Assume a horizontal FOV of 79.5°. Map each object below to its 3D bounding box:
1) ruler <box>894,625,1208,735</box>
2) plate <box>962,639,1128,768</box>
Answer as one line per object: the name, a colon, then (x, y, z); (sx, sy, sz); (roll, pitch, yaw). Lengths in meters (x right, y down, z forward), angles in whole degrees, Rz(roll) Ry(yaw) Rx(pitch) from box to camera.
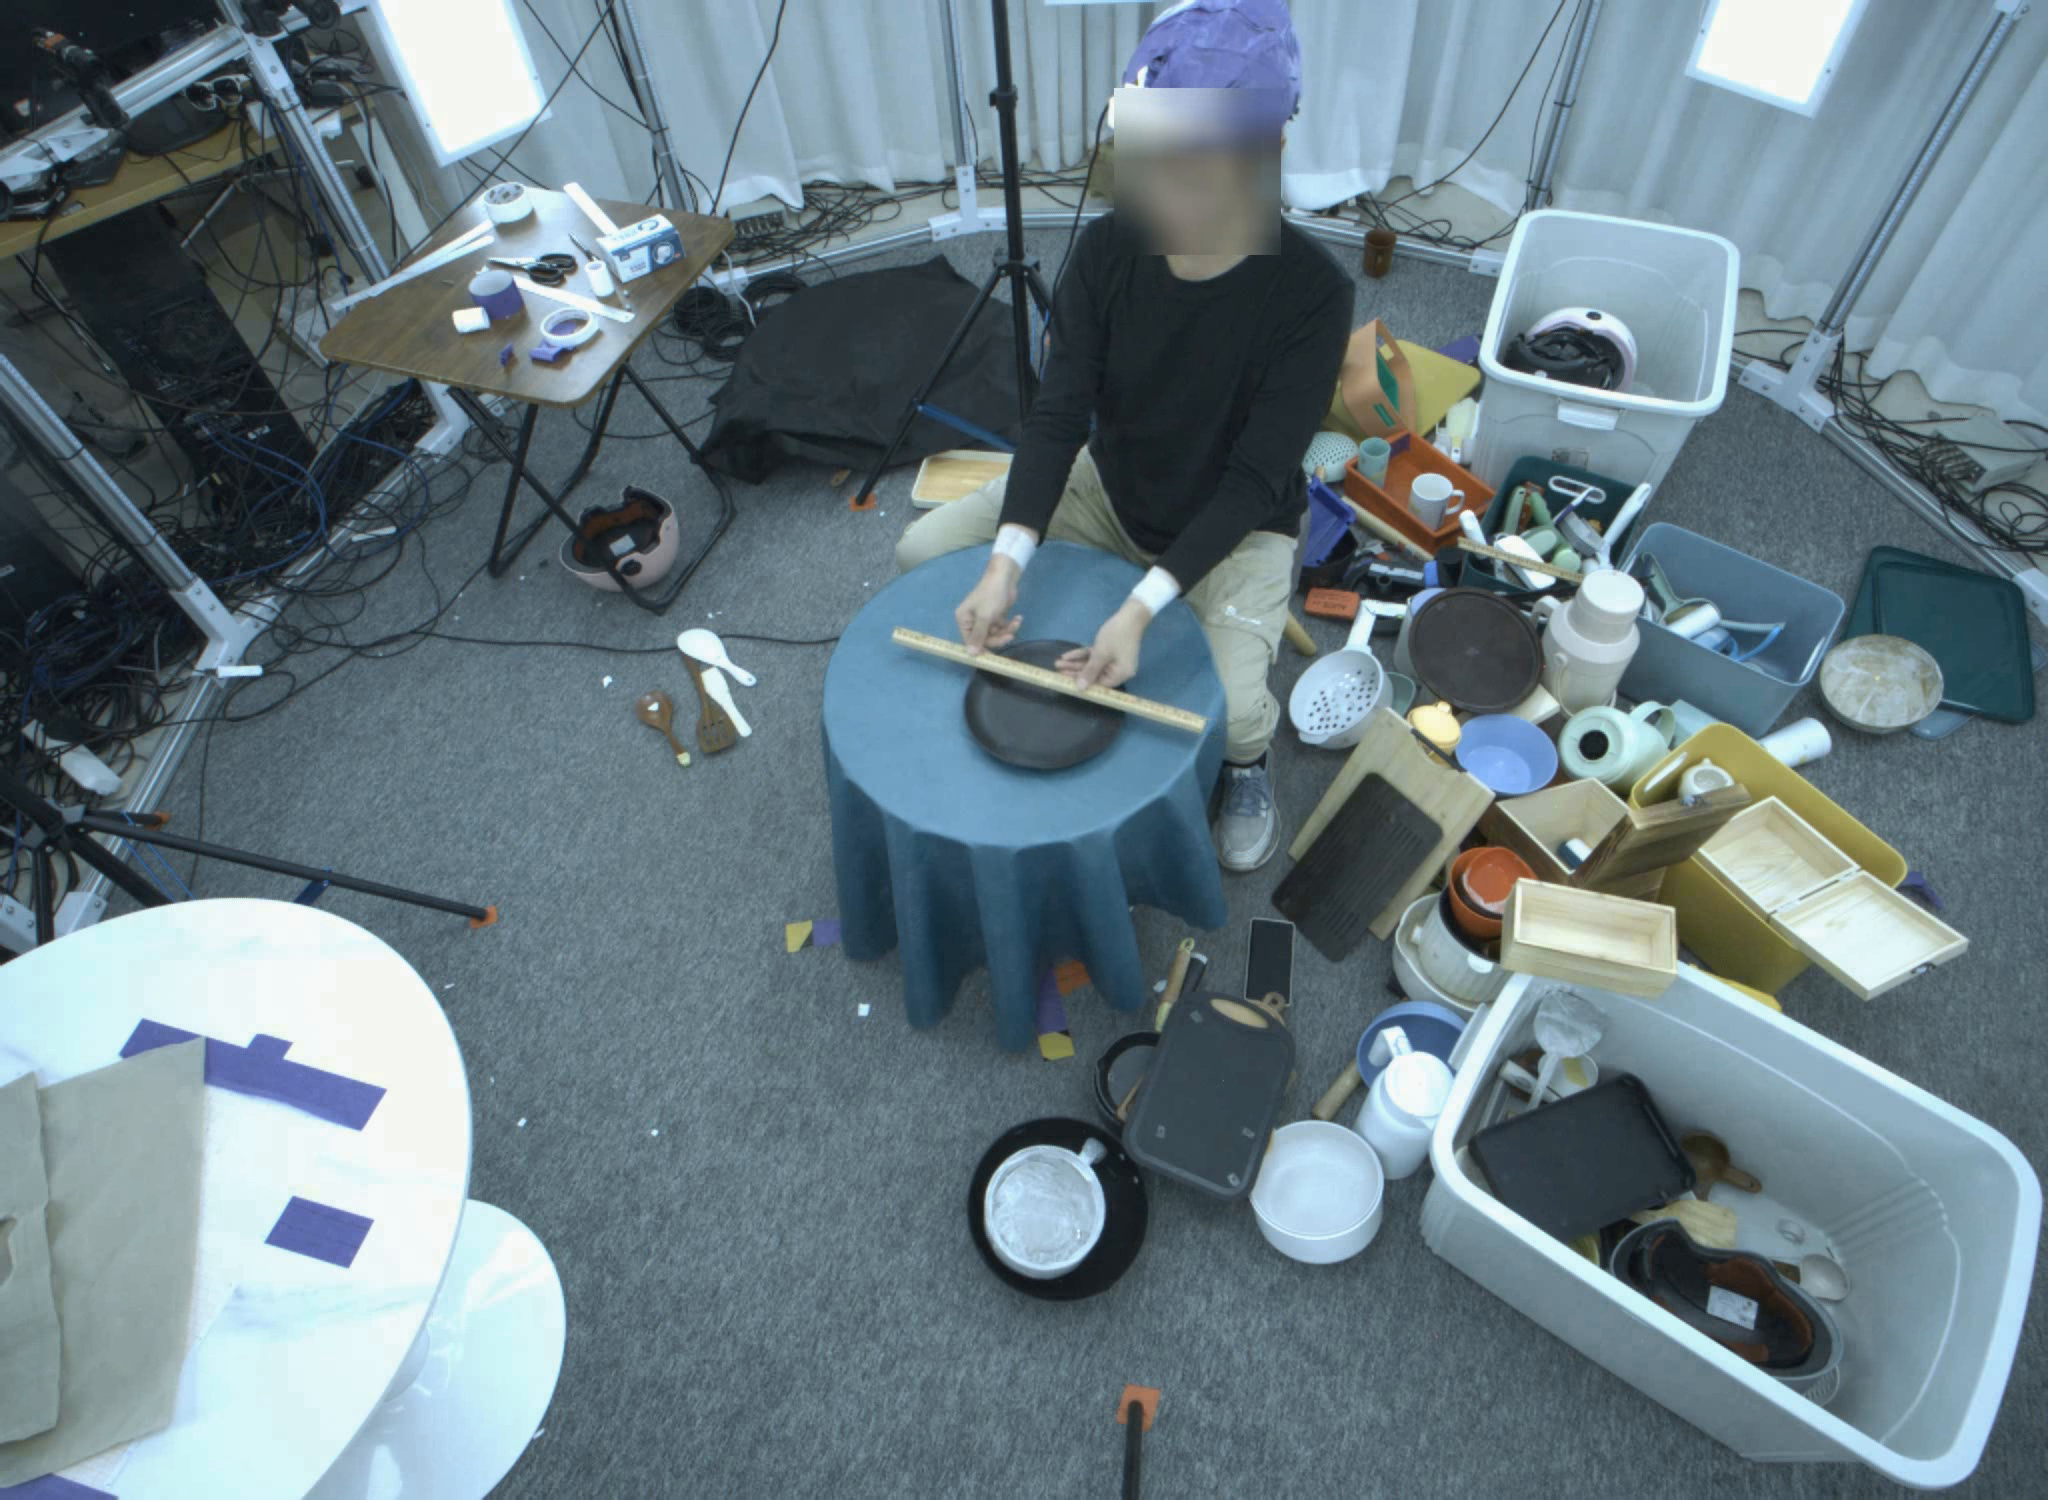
ruler: (0.031, -0.107, 1.817); (0.495, 0.006, 0.027); (18, 85, 14)
plate: (0.031, -0.066, 1.819); (0.244, 0.024, 0.242); (0, 55, 2)
